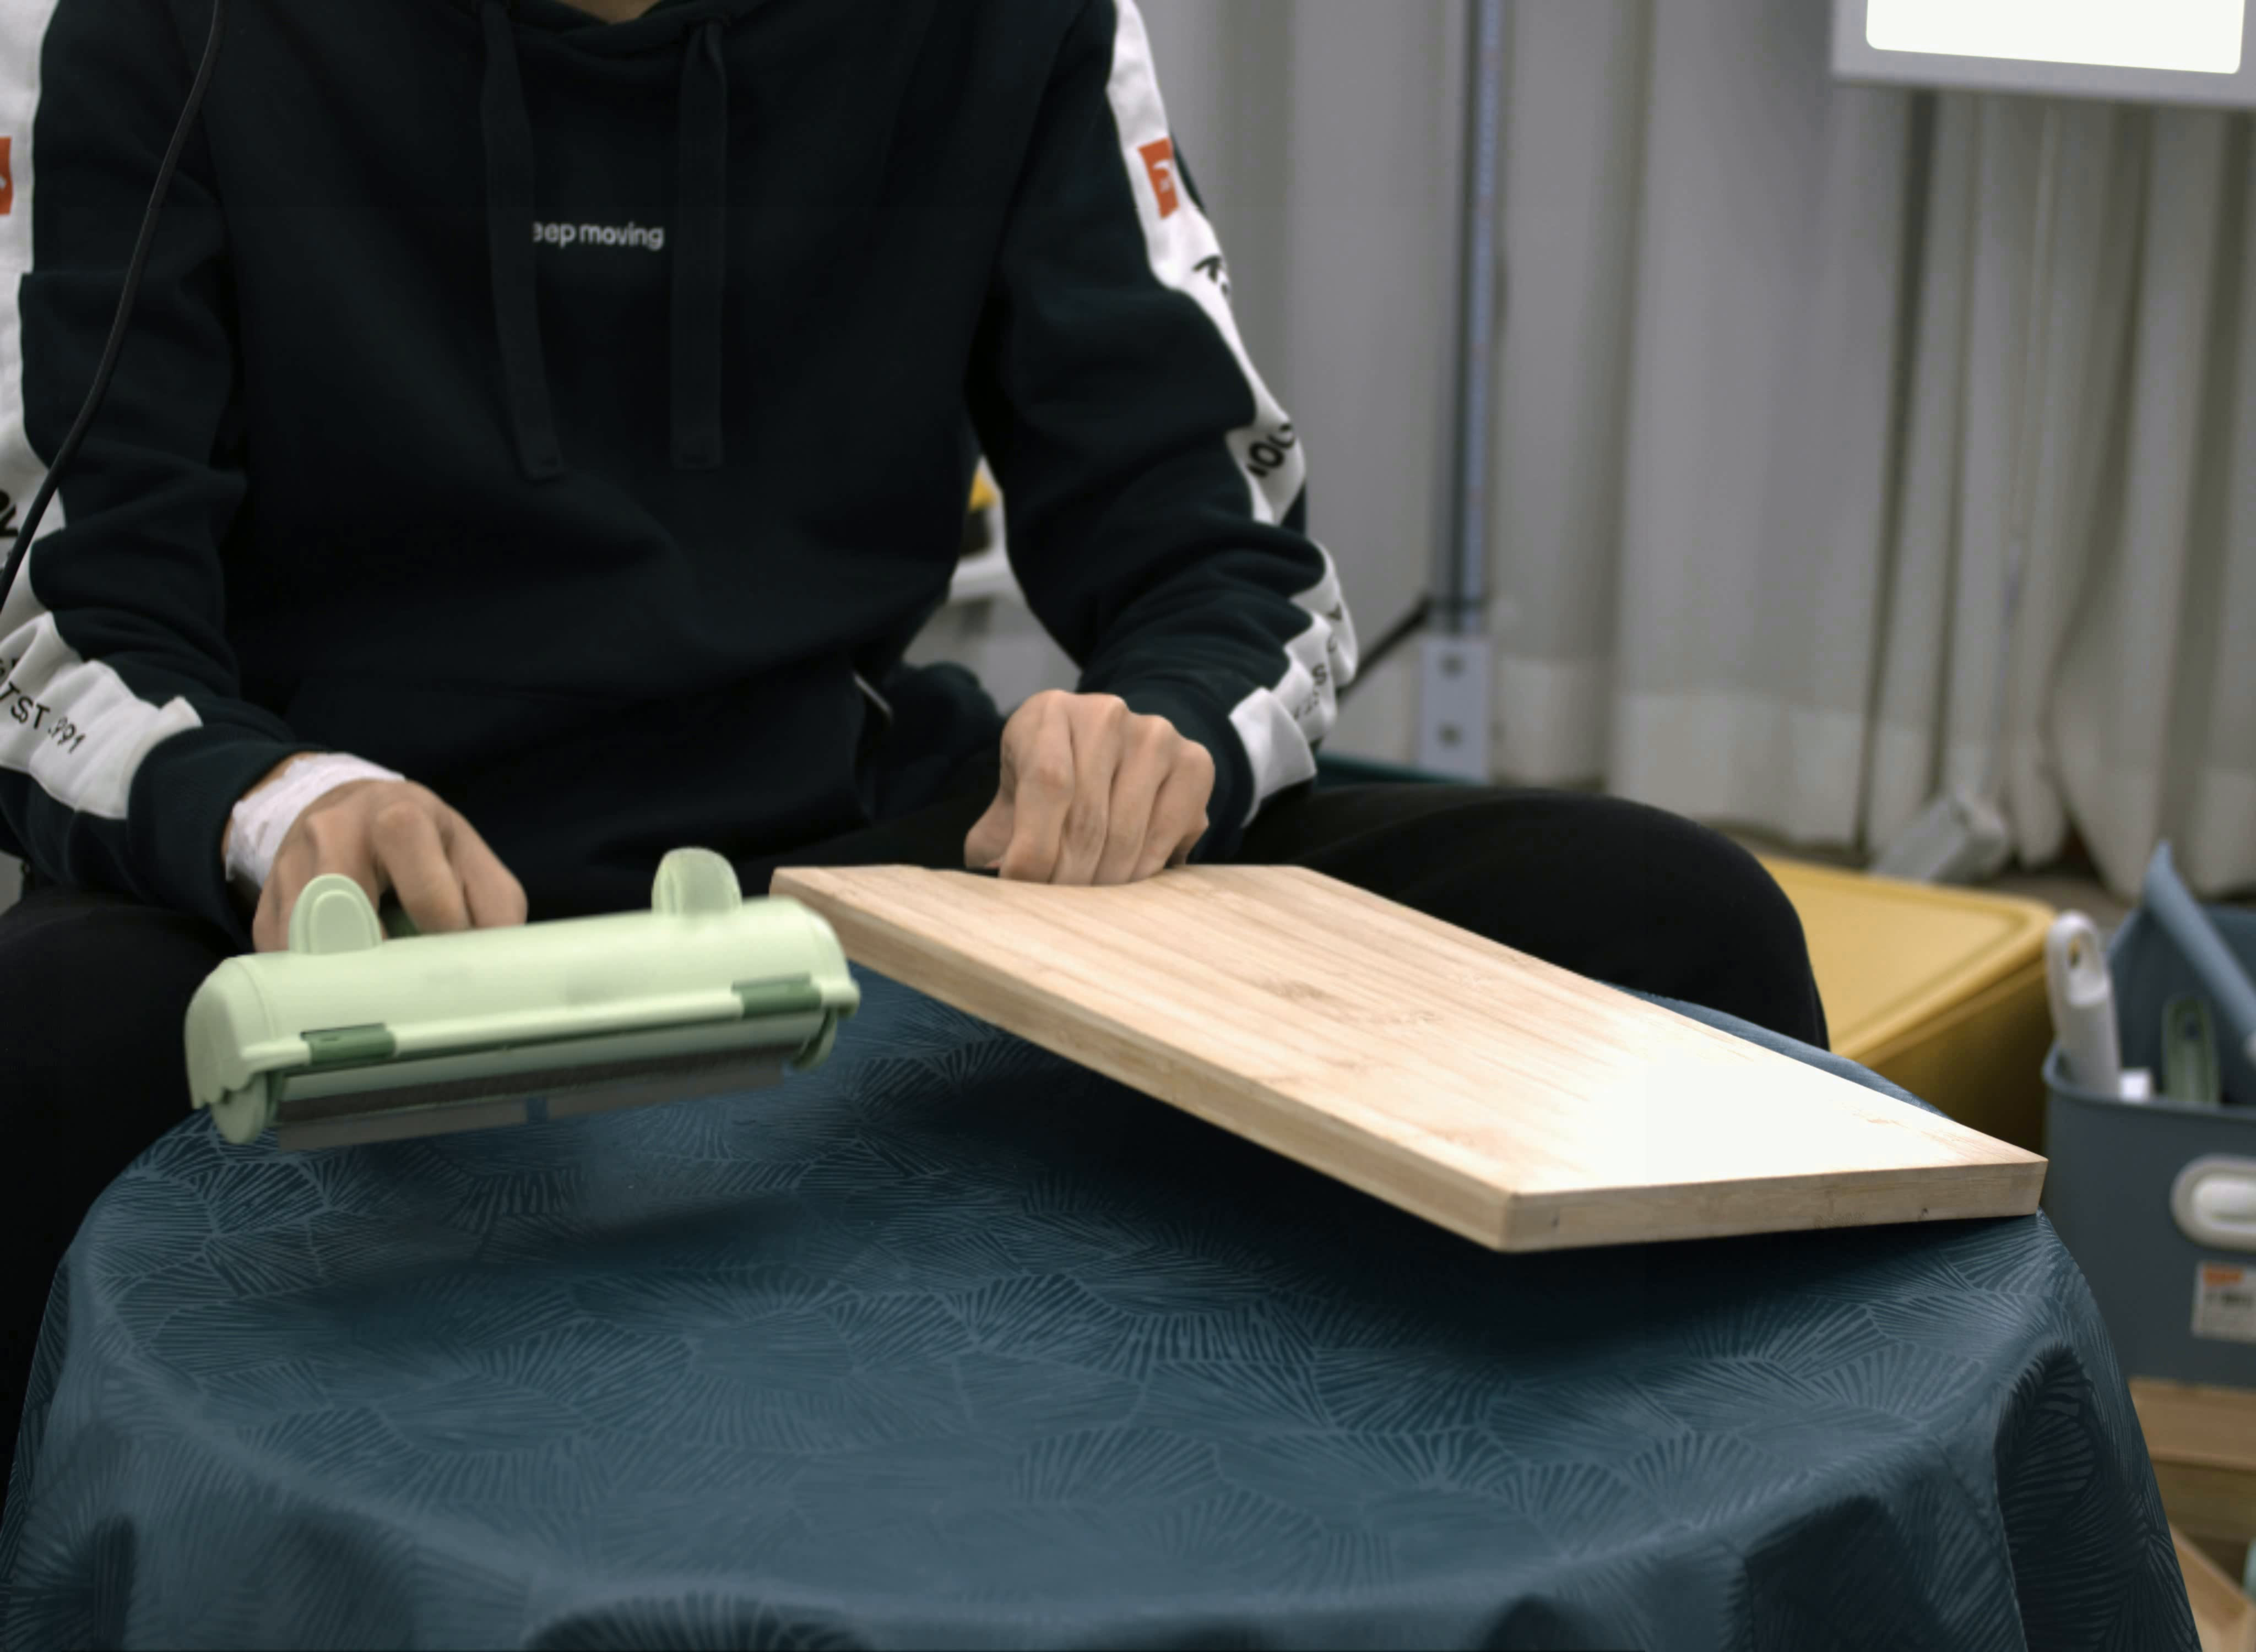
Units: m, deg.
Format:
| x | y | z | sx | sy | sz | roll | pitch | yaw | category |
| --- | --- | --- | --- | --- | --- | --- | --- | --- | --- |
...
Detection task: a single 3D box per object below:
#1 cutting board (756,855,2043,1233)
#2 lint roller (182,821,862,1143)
| x | y | z | sx | sy | sz | roll | pitch | yaw | category |
| --- | --- | --- | --- | --- | --- | --- | --- | --- | --- |
| 0.079 | 0.065 | 1.646 | 0.253 | 0.024 | 0.344 | 2 | 14 | -44 | cutting board |
| -0.204 | 0.030 | 1.591 | 0.199 | 0.083 | 0.181 | -7 | 22 | -29 | lint roller |
